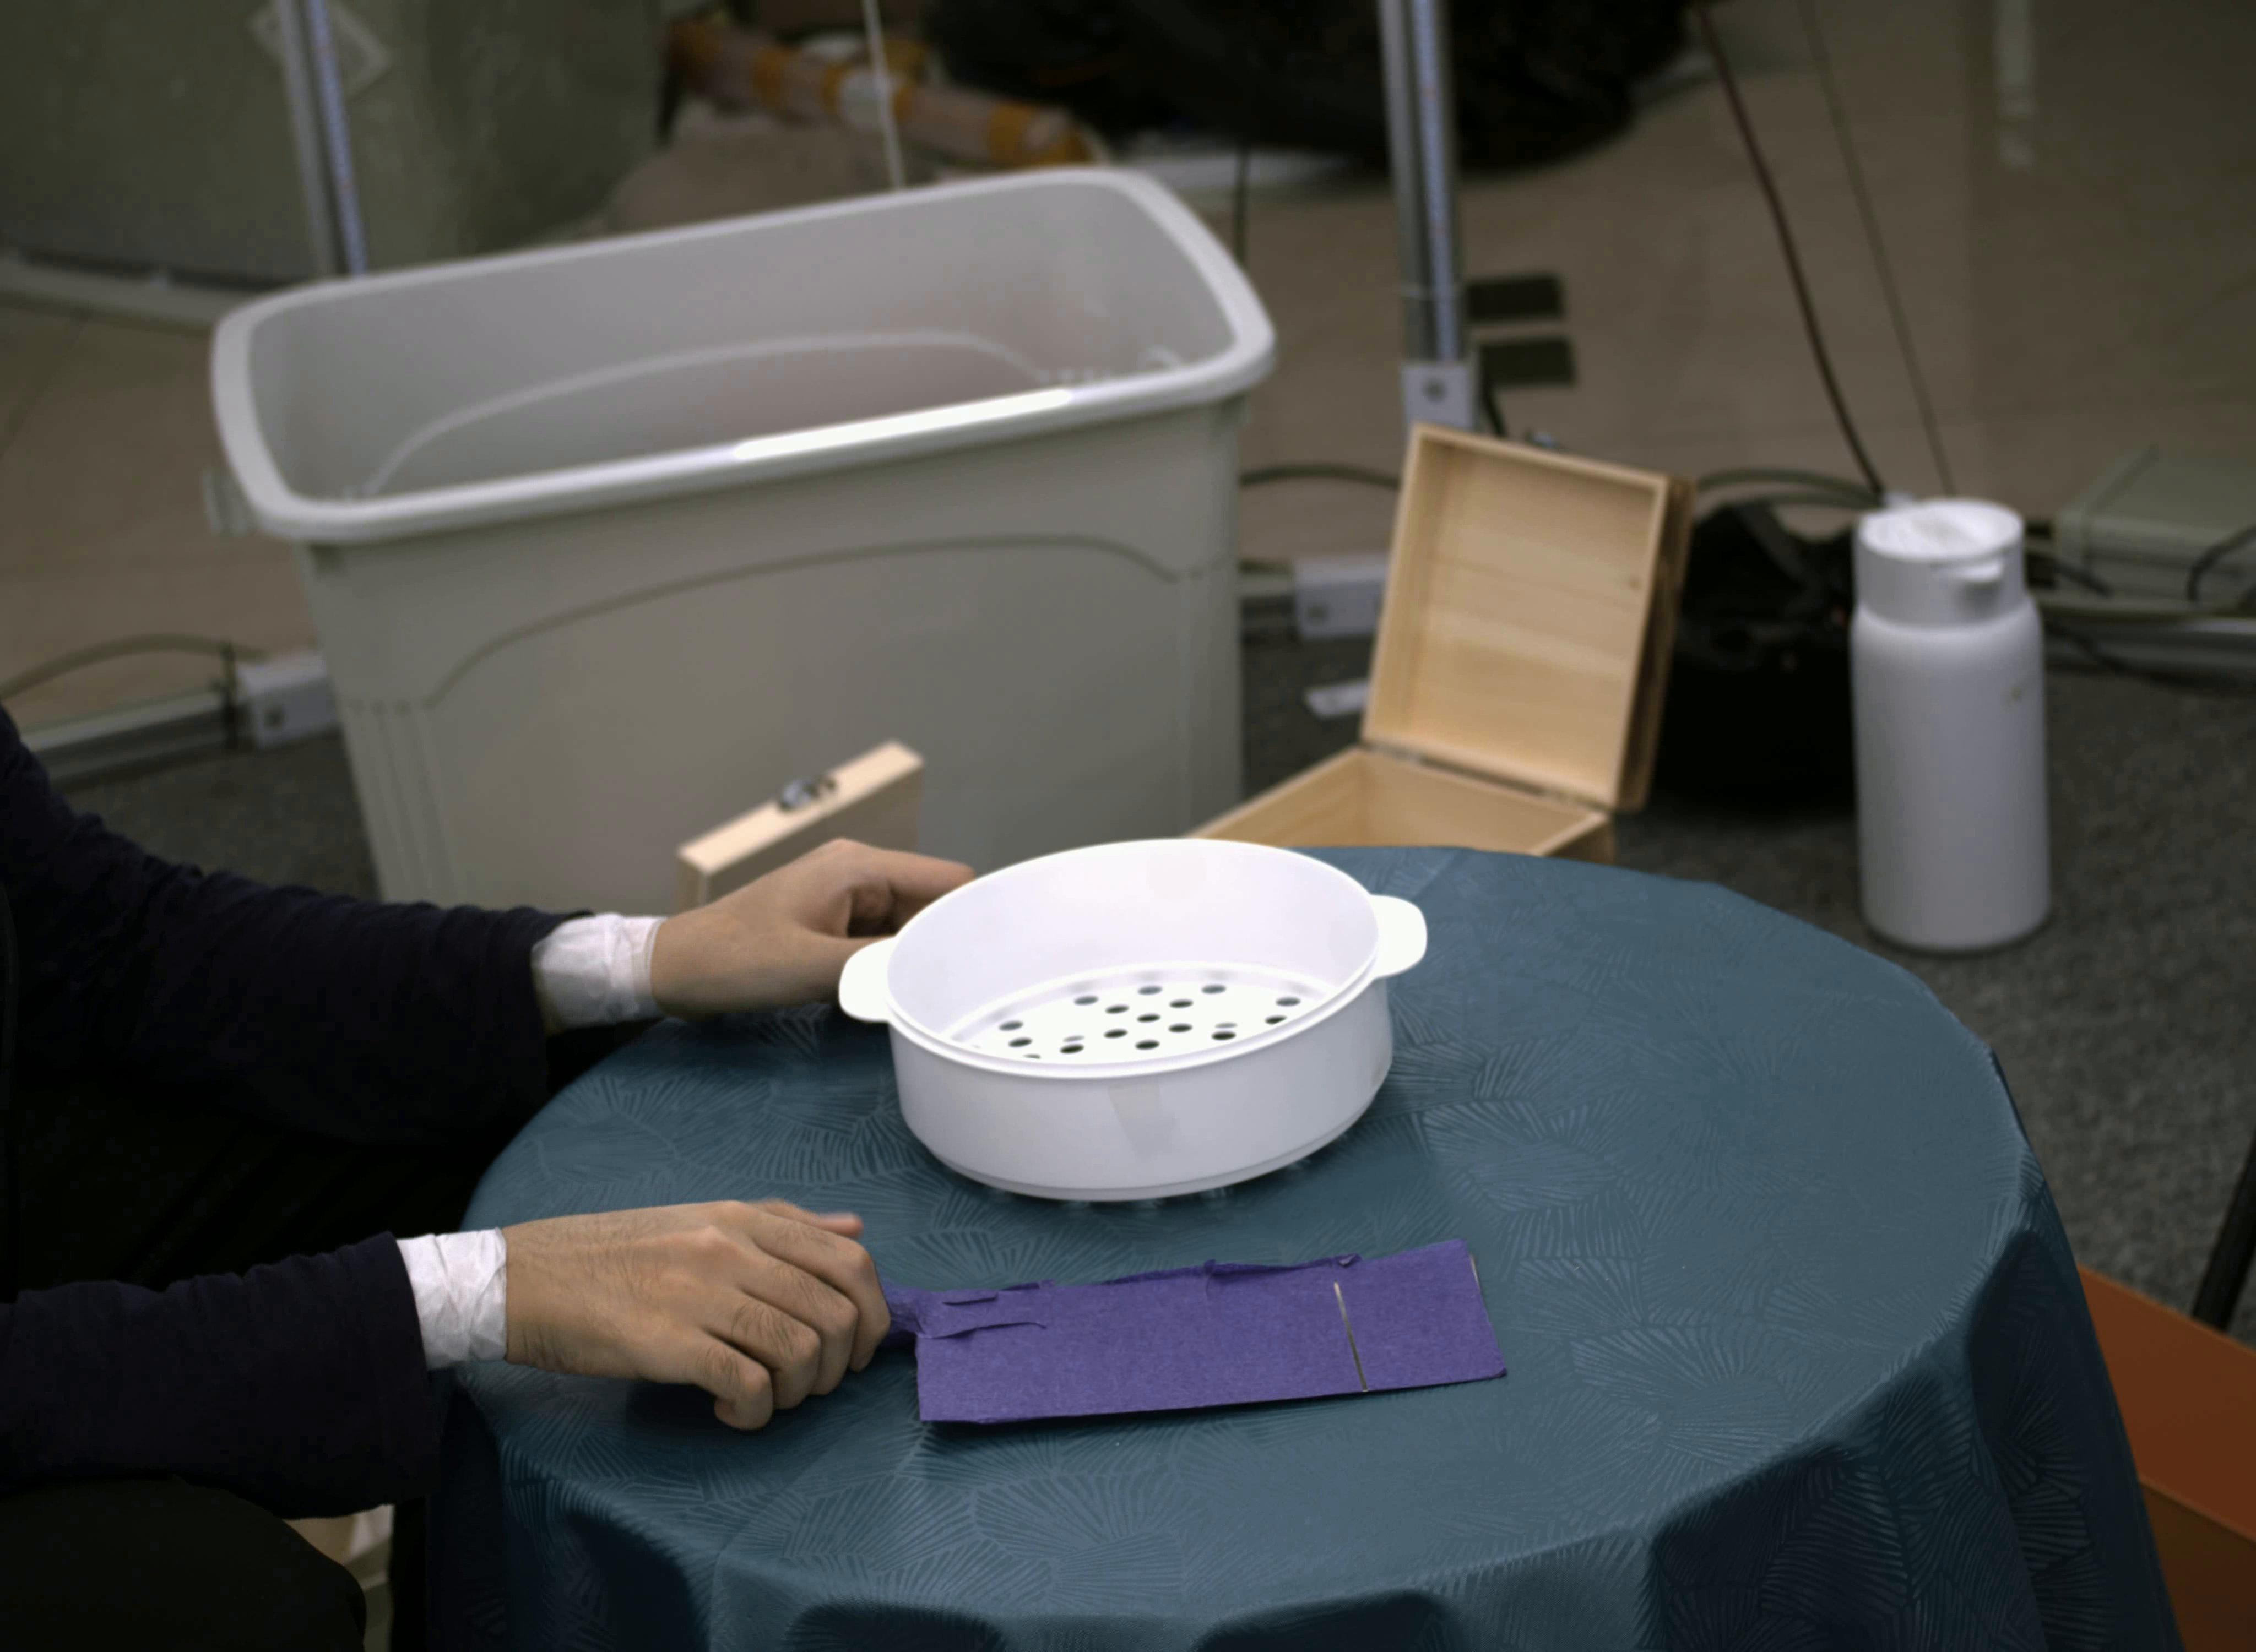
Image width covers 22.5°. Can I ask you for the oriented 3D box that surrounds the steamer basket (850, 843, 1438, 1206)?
[{"bbox_3d":[0.010,0.077,2.205,0.230,0.070,0.199,-8,24,5],"label":"steamer basket"}]

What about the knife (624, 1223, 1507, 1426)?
[{"bbox_3d":[-0.024,0.182,2.032,0.315,0.033,0.102,-7,25,-1],"label":"knife"}]
